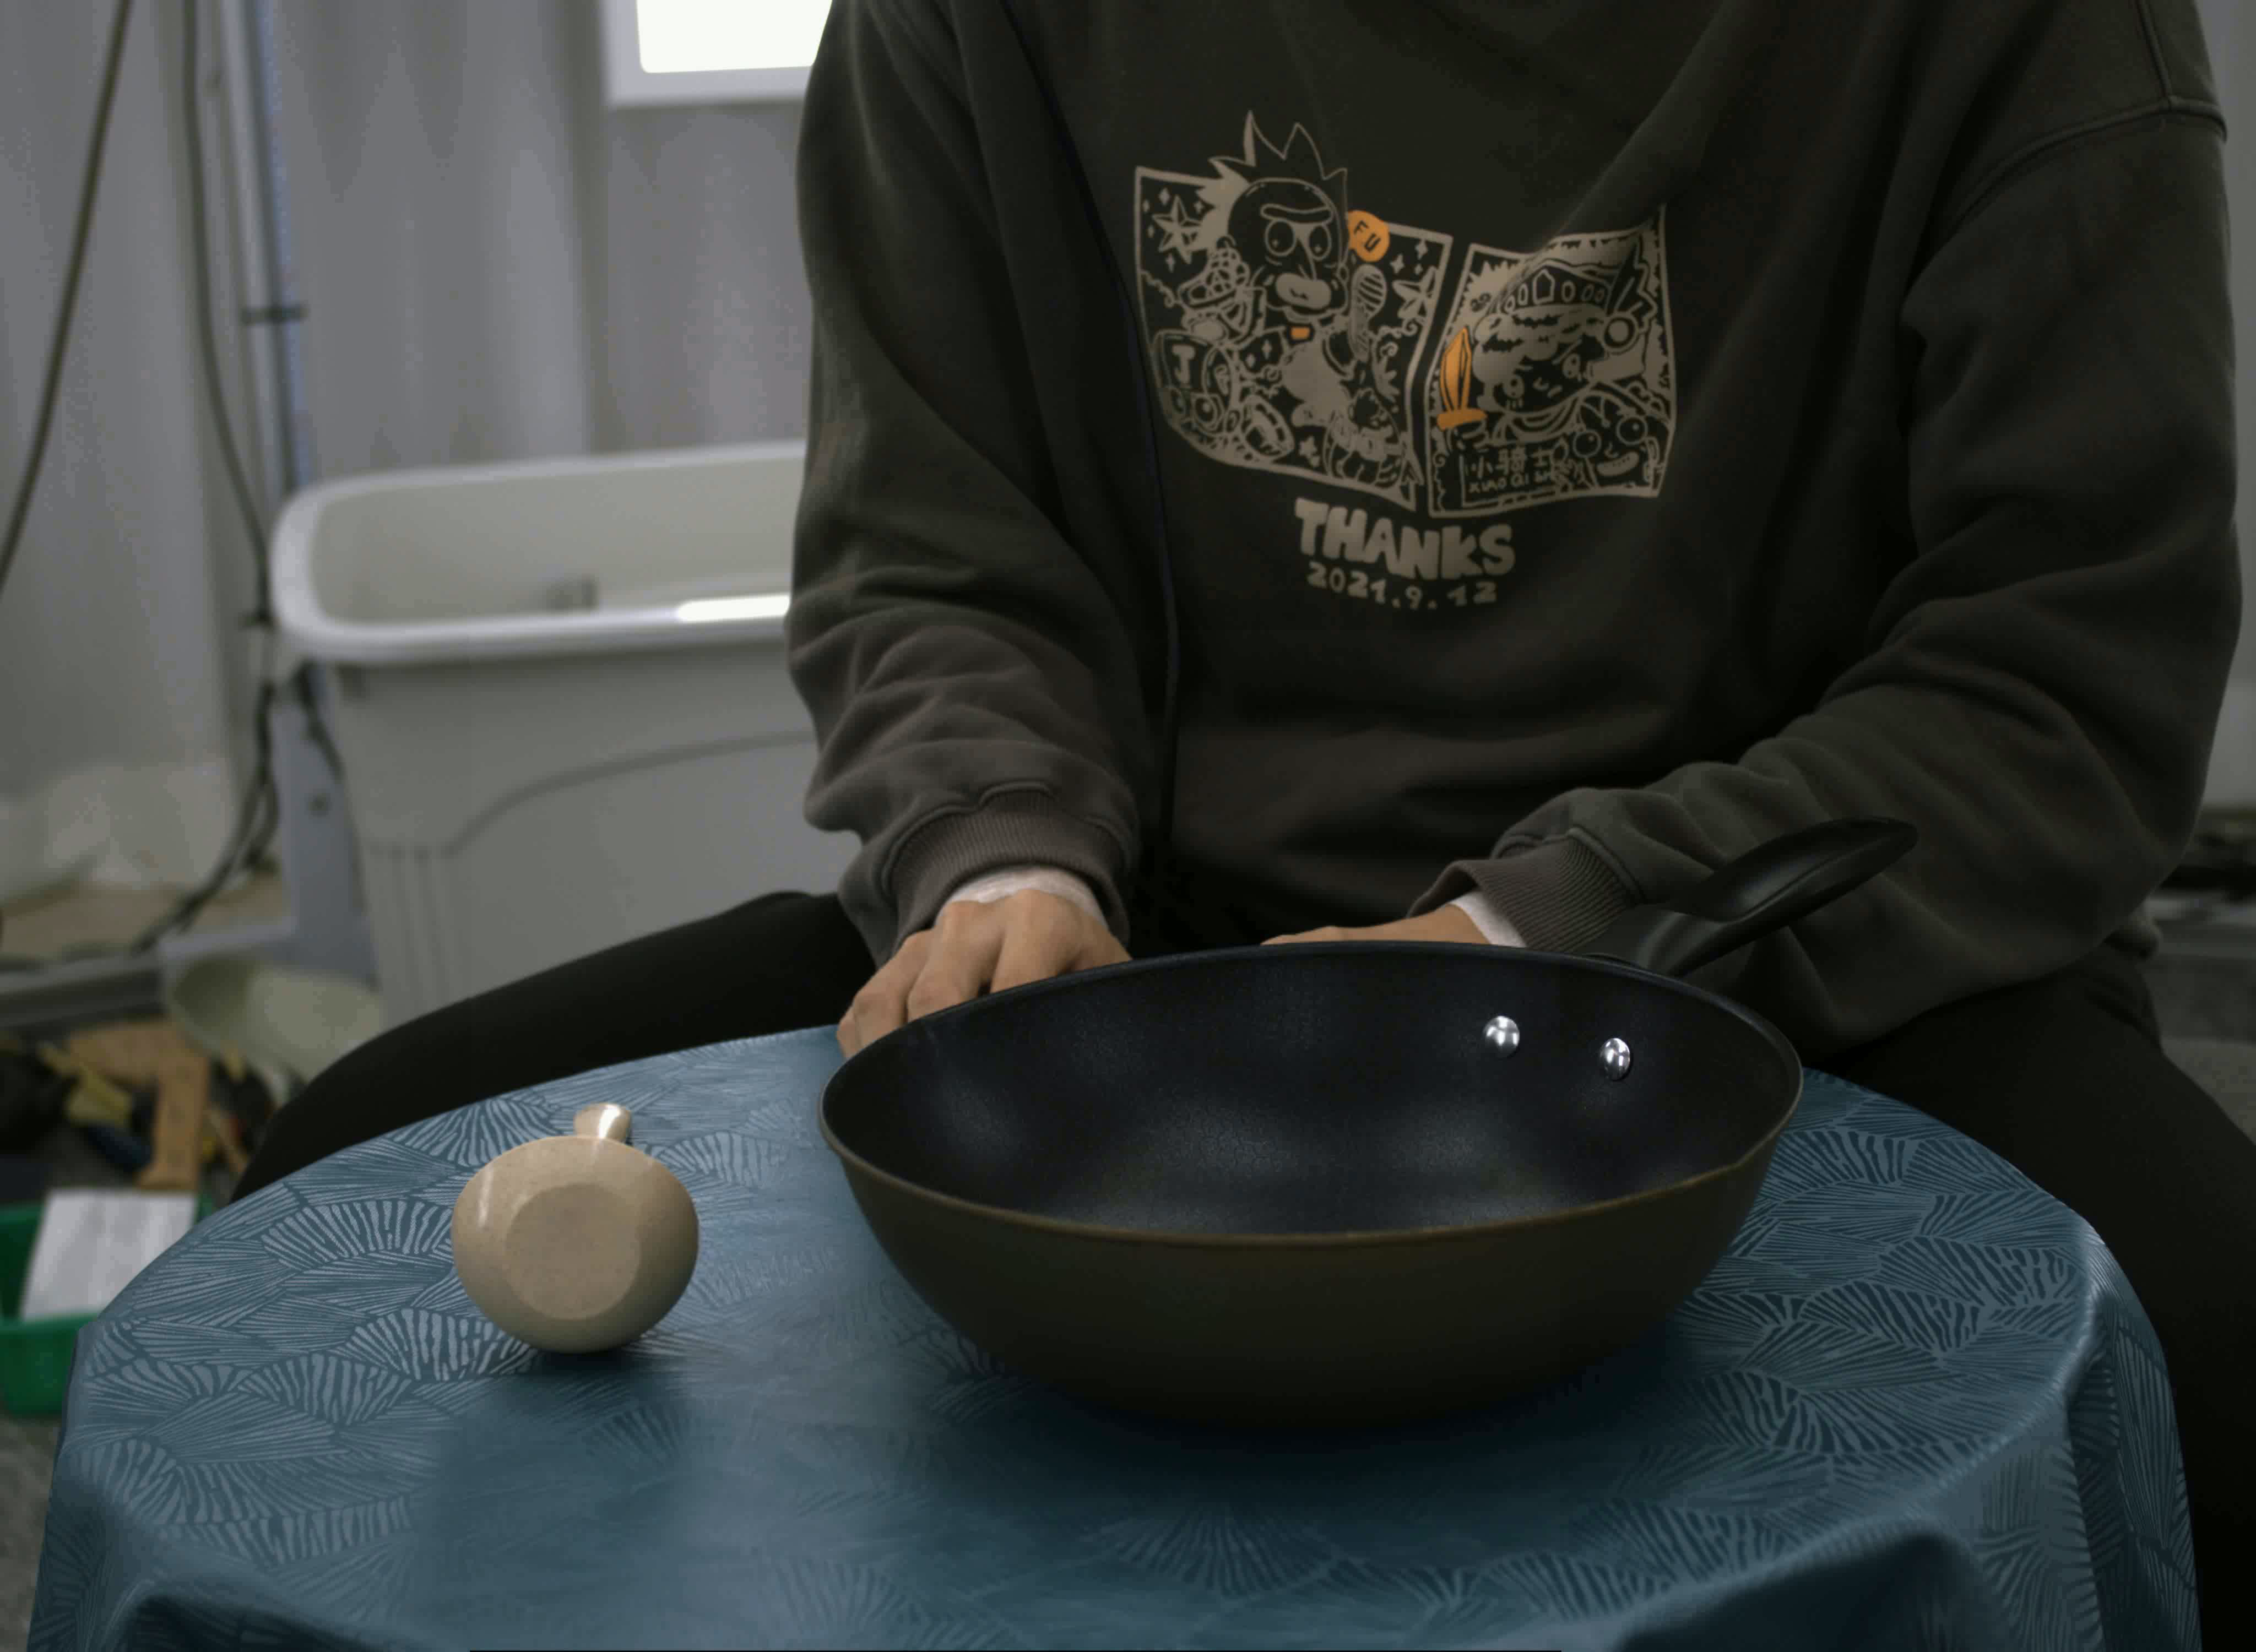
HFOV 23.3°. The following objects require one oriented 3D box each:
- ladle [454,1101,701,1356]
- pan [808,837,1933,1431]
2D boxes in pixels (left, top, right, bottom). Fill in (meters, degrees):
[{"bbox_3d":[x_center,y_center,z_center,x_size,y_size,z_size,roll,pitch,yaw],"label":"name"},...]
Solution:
[{"bbox_3d":[-0.172,0.094,1.693,0.072,0.072,0.256,-10,16,-4],"label":"ladle"},{"bbox_3d":[0.107,0.089,1.640,0.289,0.086,0.463,9,18,38],"label":"pan"}]
